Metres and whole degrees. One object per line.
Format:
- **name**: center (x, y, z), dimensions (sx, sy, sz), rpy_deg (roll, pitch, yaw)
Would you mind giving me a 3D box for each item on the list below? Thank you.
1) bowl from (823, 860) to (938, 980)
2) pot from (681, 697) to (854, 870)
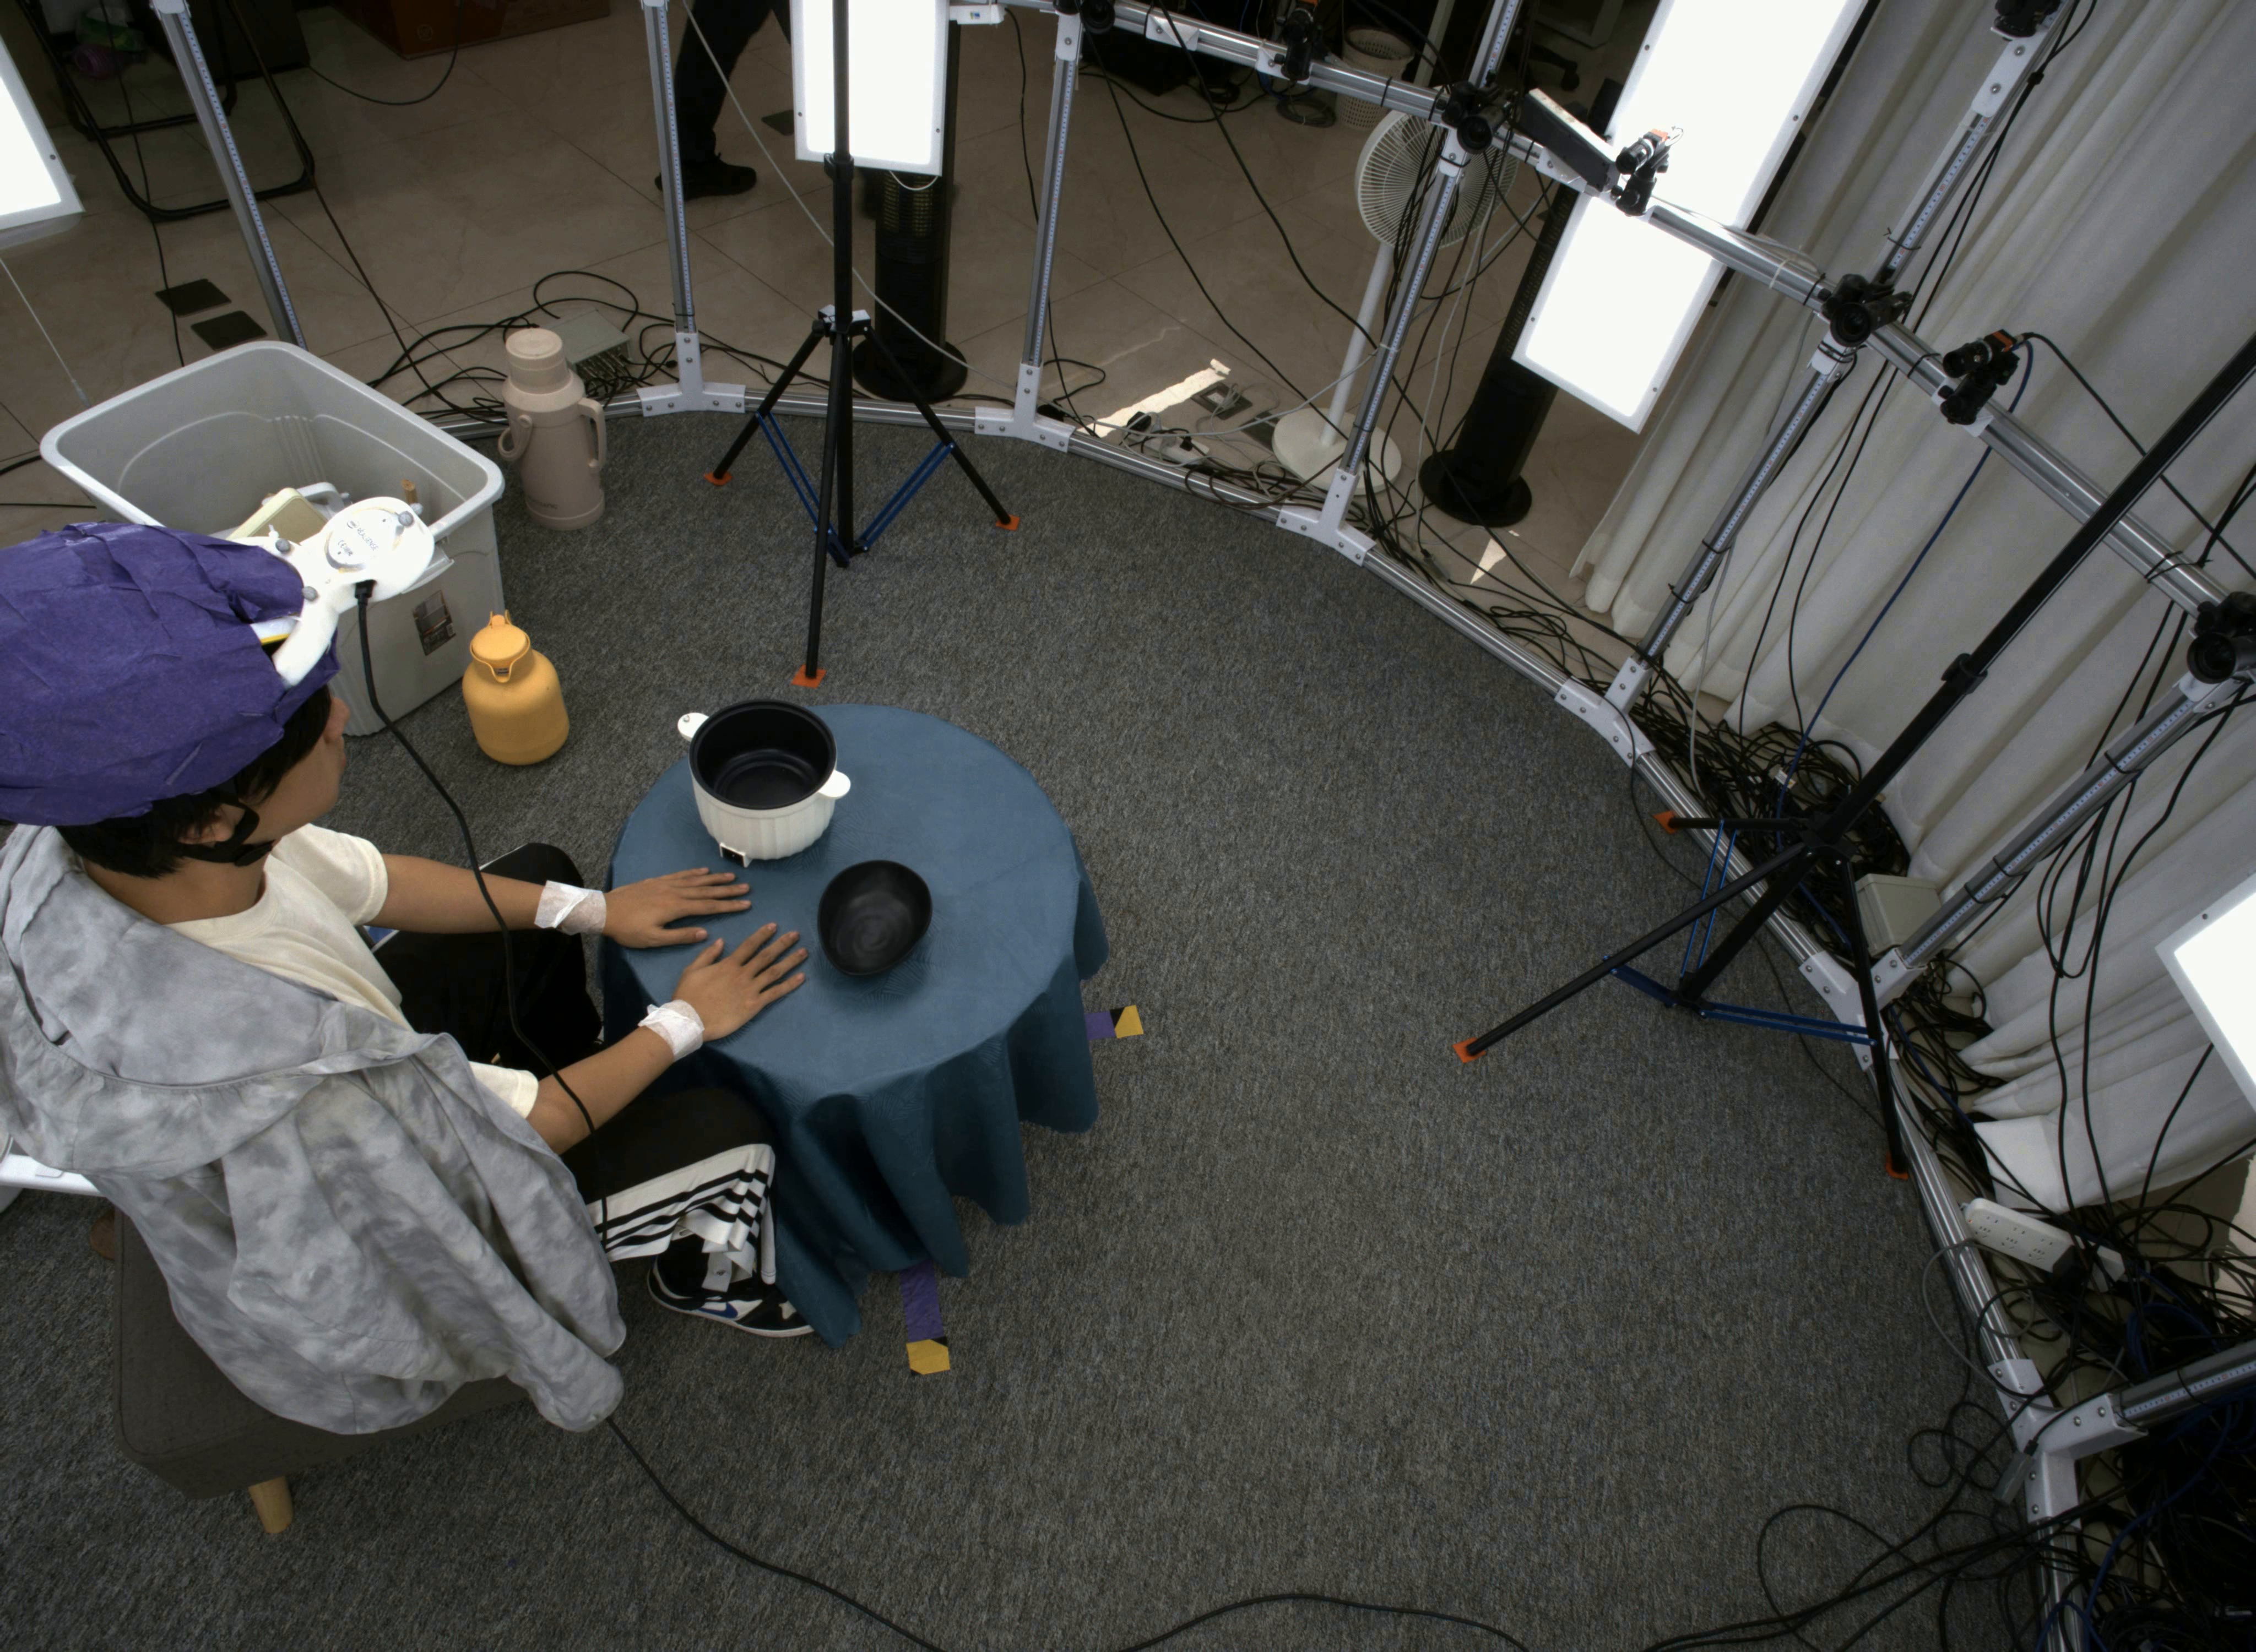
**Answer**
- **bowl**: center (-0.308, 0.125, 1.621), dimensions (0.136, 0.068, 0.168), rpy_deg (14, 53, -1)
- **pot**: center (-0.460, -0.057, 1.671), dimensions (0.237, 0.145, 0.189), rpy_deg (22, 55, 4)
